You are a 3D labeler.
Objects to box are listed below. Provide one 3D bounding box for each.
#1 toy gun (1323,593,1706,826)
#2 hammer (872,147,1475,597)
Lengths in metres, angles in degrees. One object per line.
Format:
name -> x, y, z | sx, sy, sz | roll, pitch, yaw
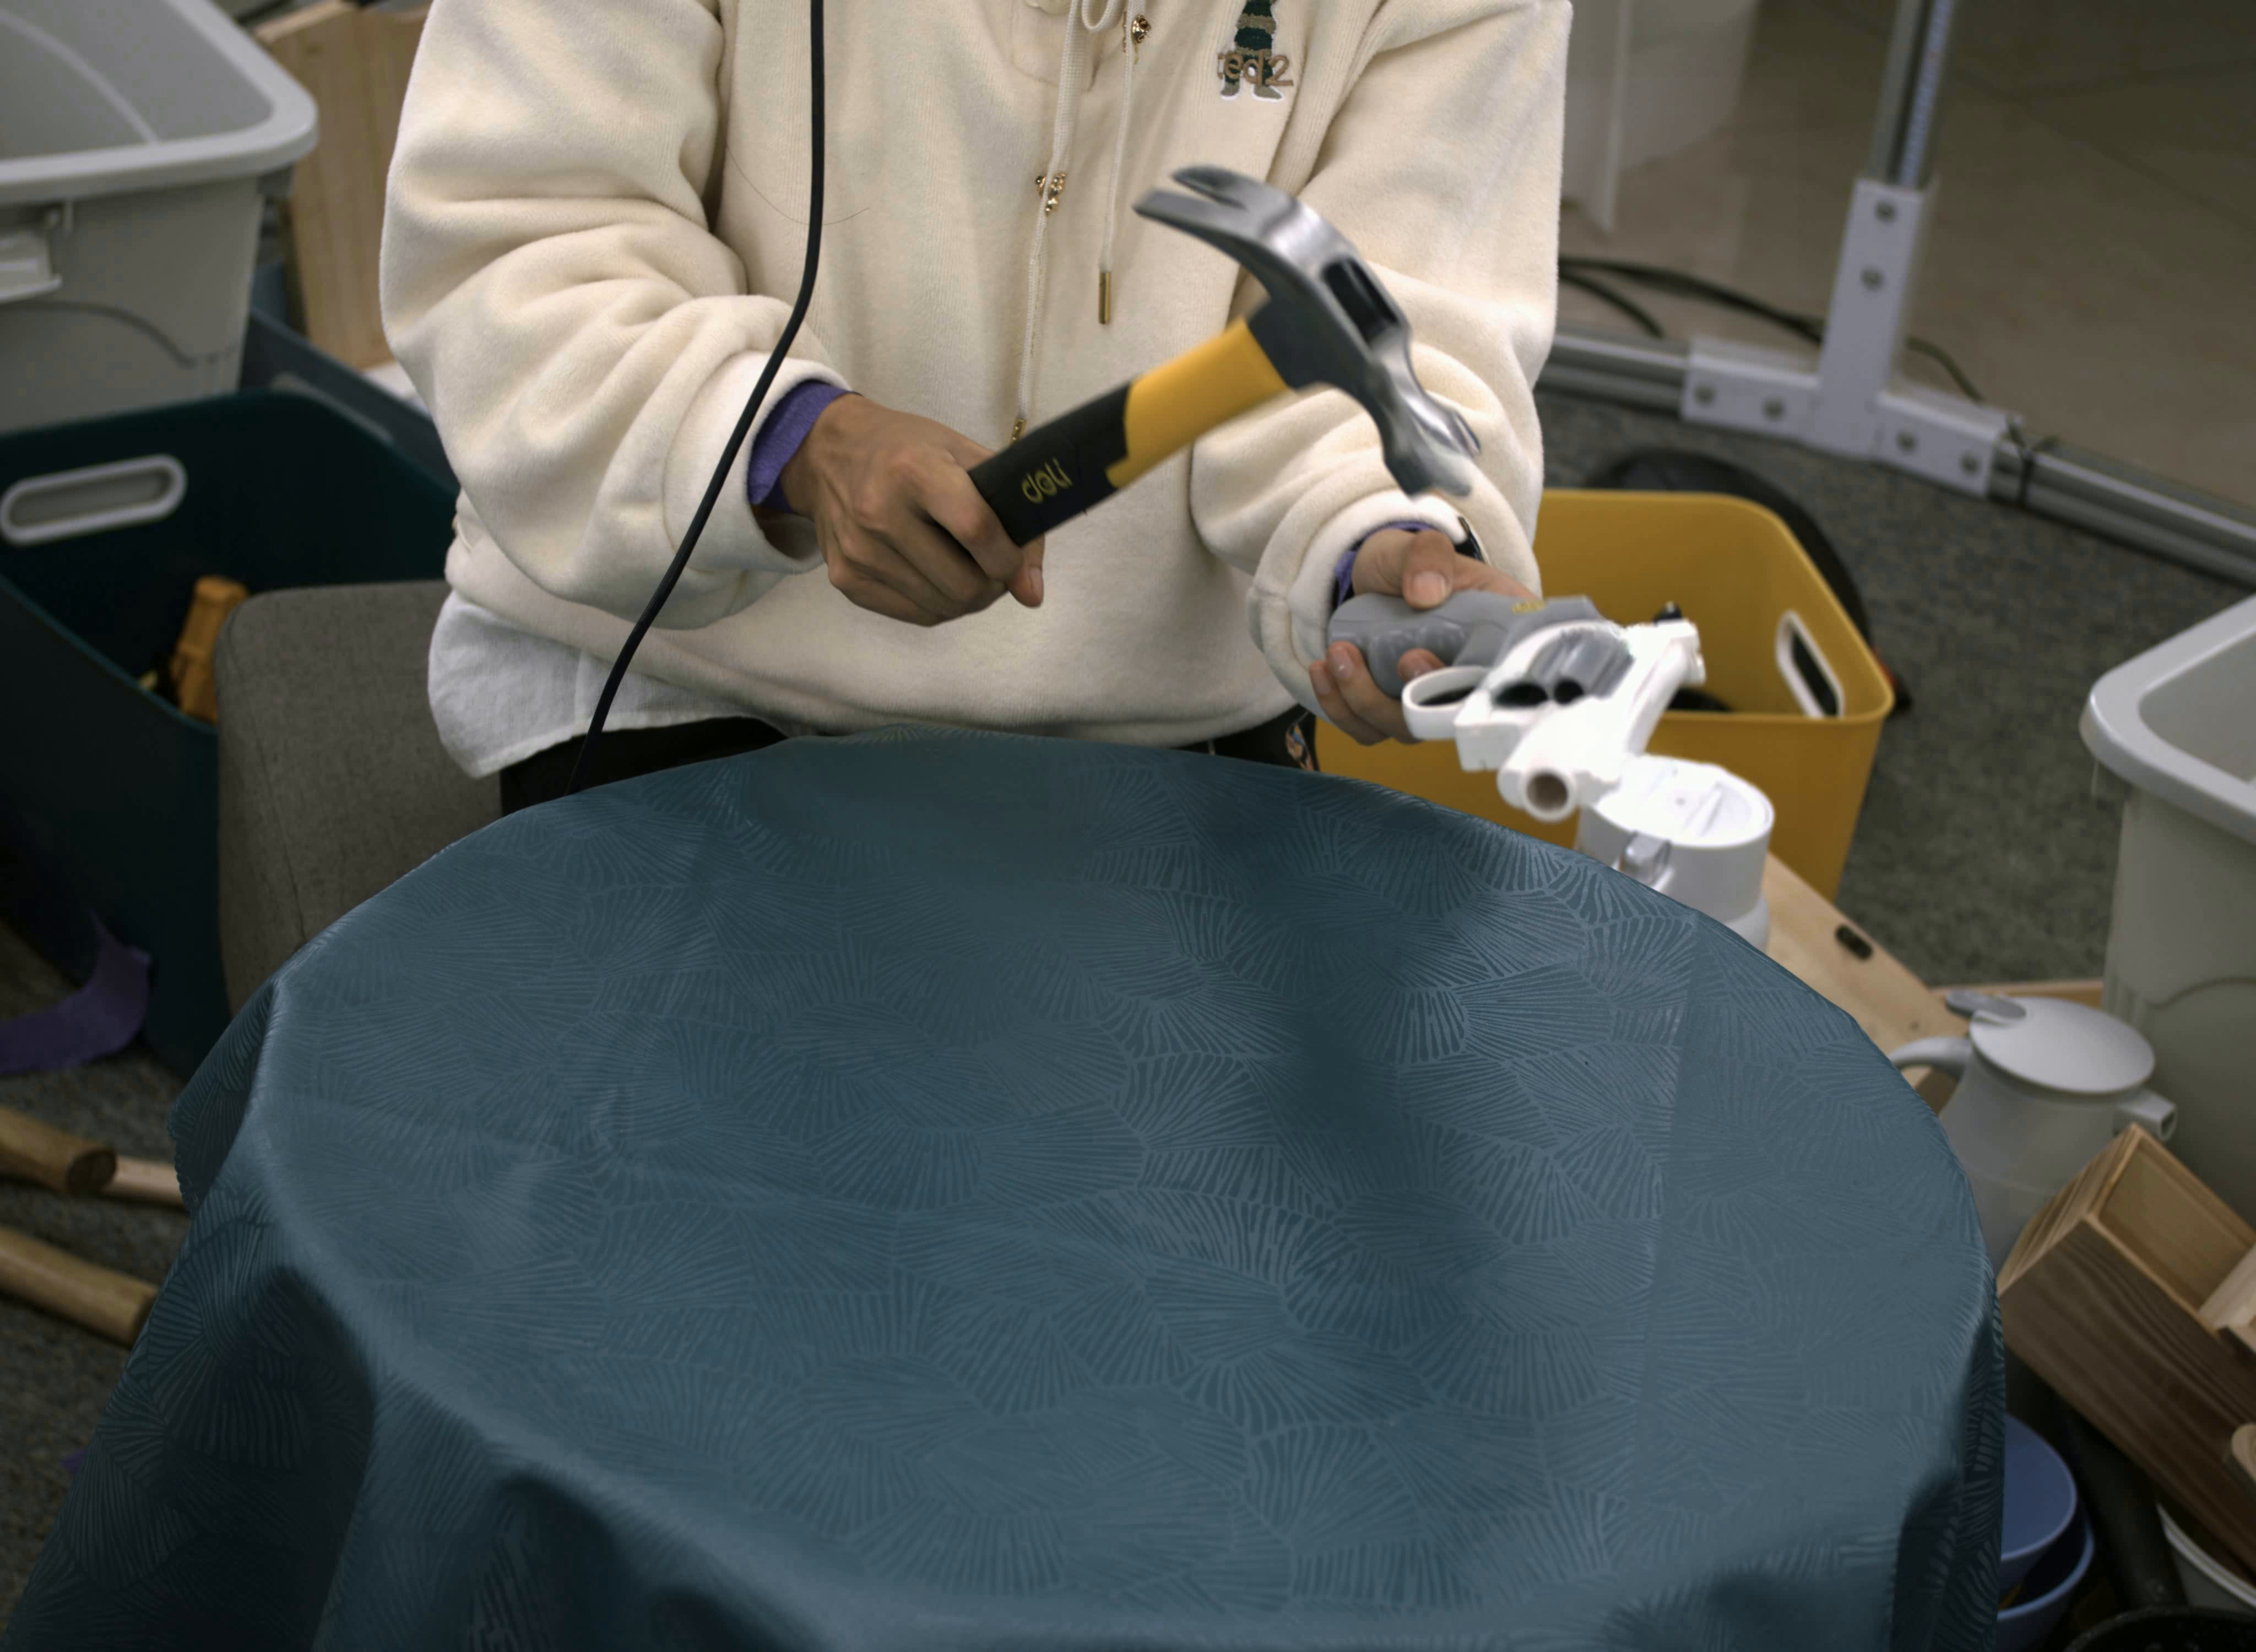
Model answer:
toy gun -> 0.119, -0.042, 1.785 | 0.142, 0.039, 0.209 | -3, 18, 18
hammer -> -0.005, -0.140, 1.862 | 0.032, 0.131, 0.339 | -40, 7, -29
